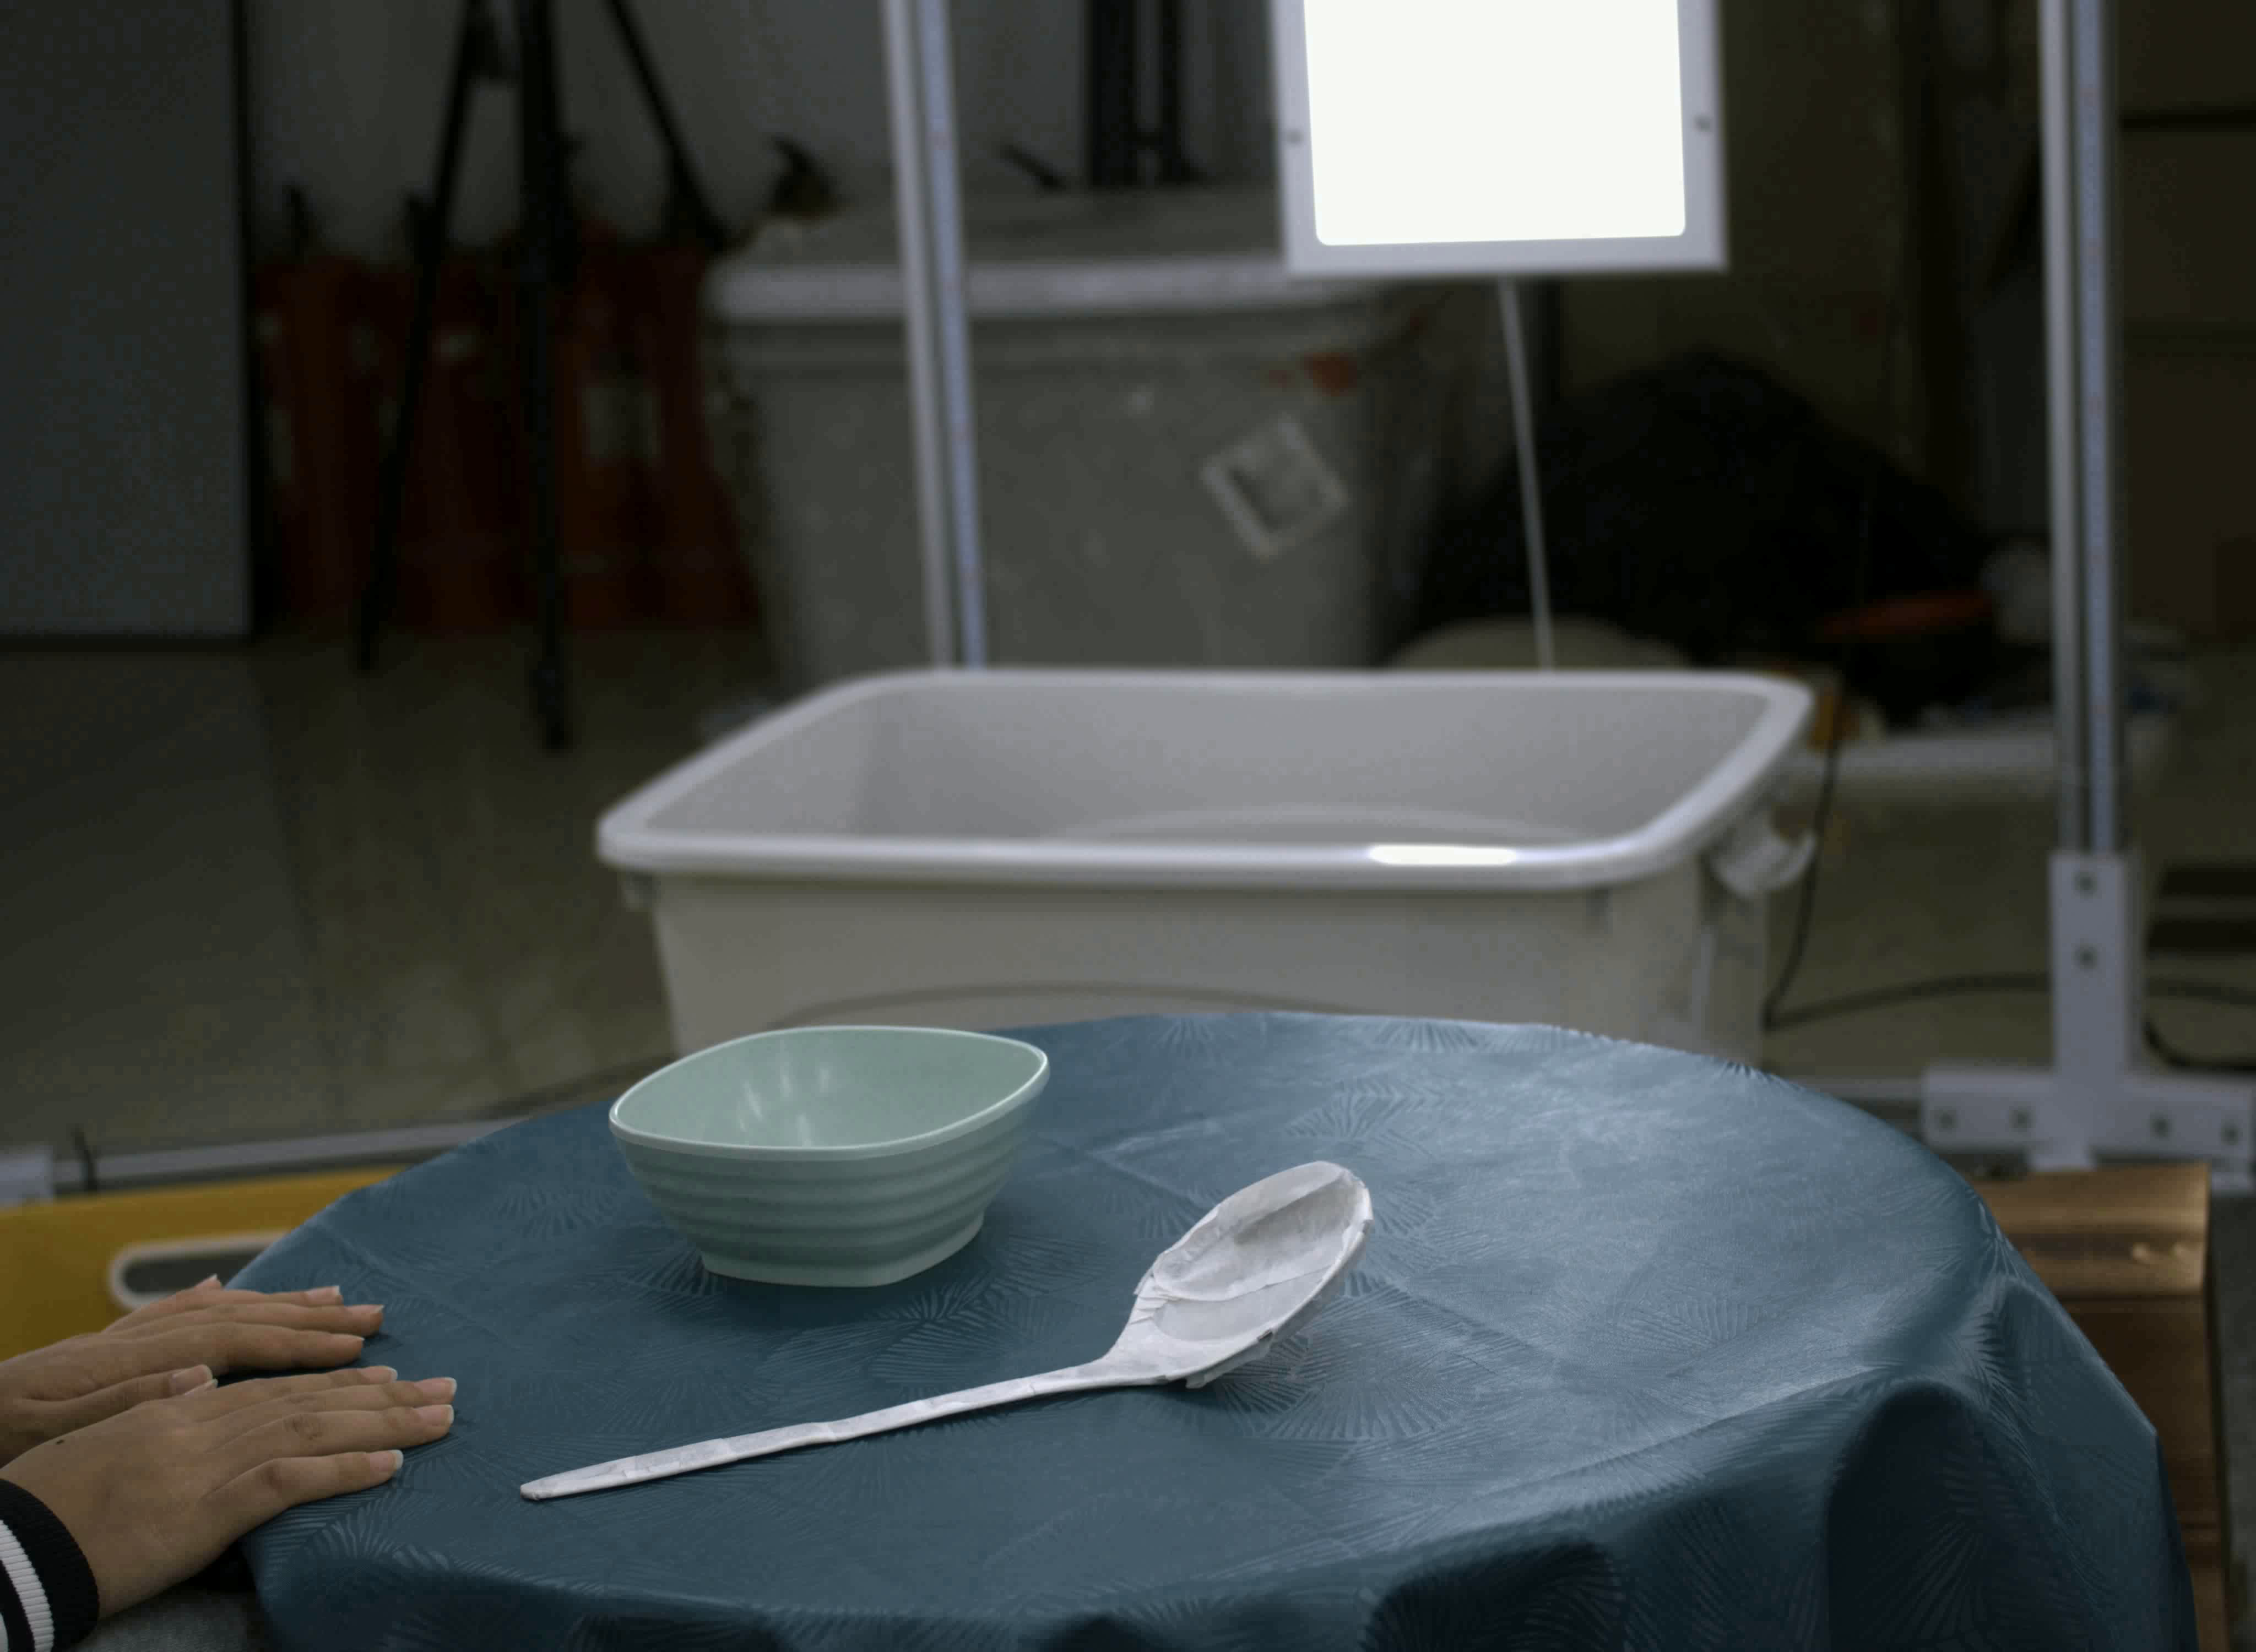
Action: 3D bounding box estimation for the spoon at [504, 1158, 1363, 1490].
[{"bbox_3d":[-0.060,0.152,1.697,0.274,0.059,0.101,-8,10,-13],"label":"spoon"}]

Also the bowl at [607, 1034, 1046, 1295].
[{"bbox_3d":[-0.099,0.117,1.861,0.151,0.059,0.151,-5,13,0],"label":"bowl"}]
